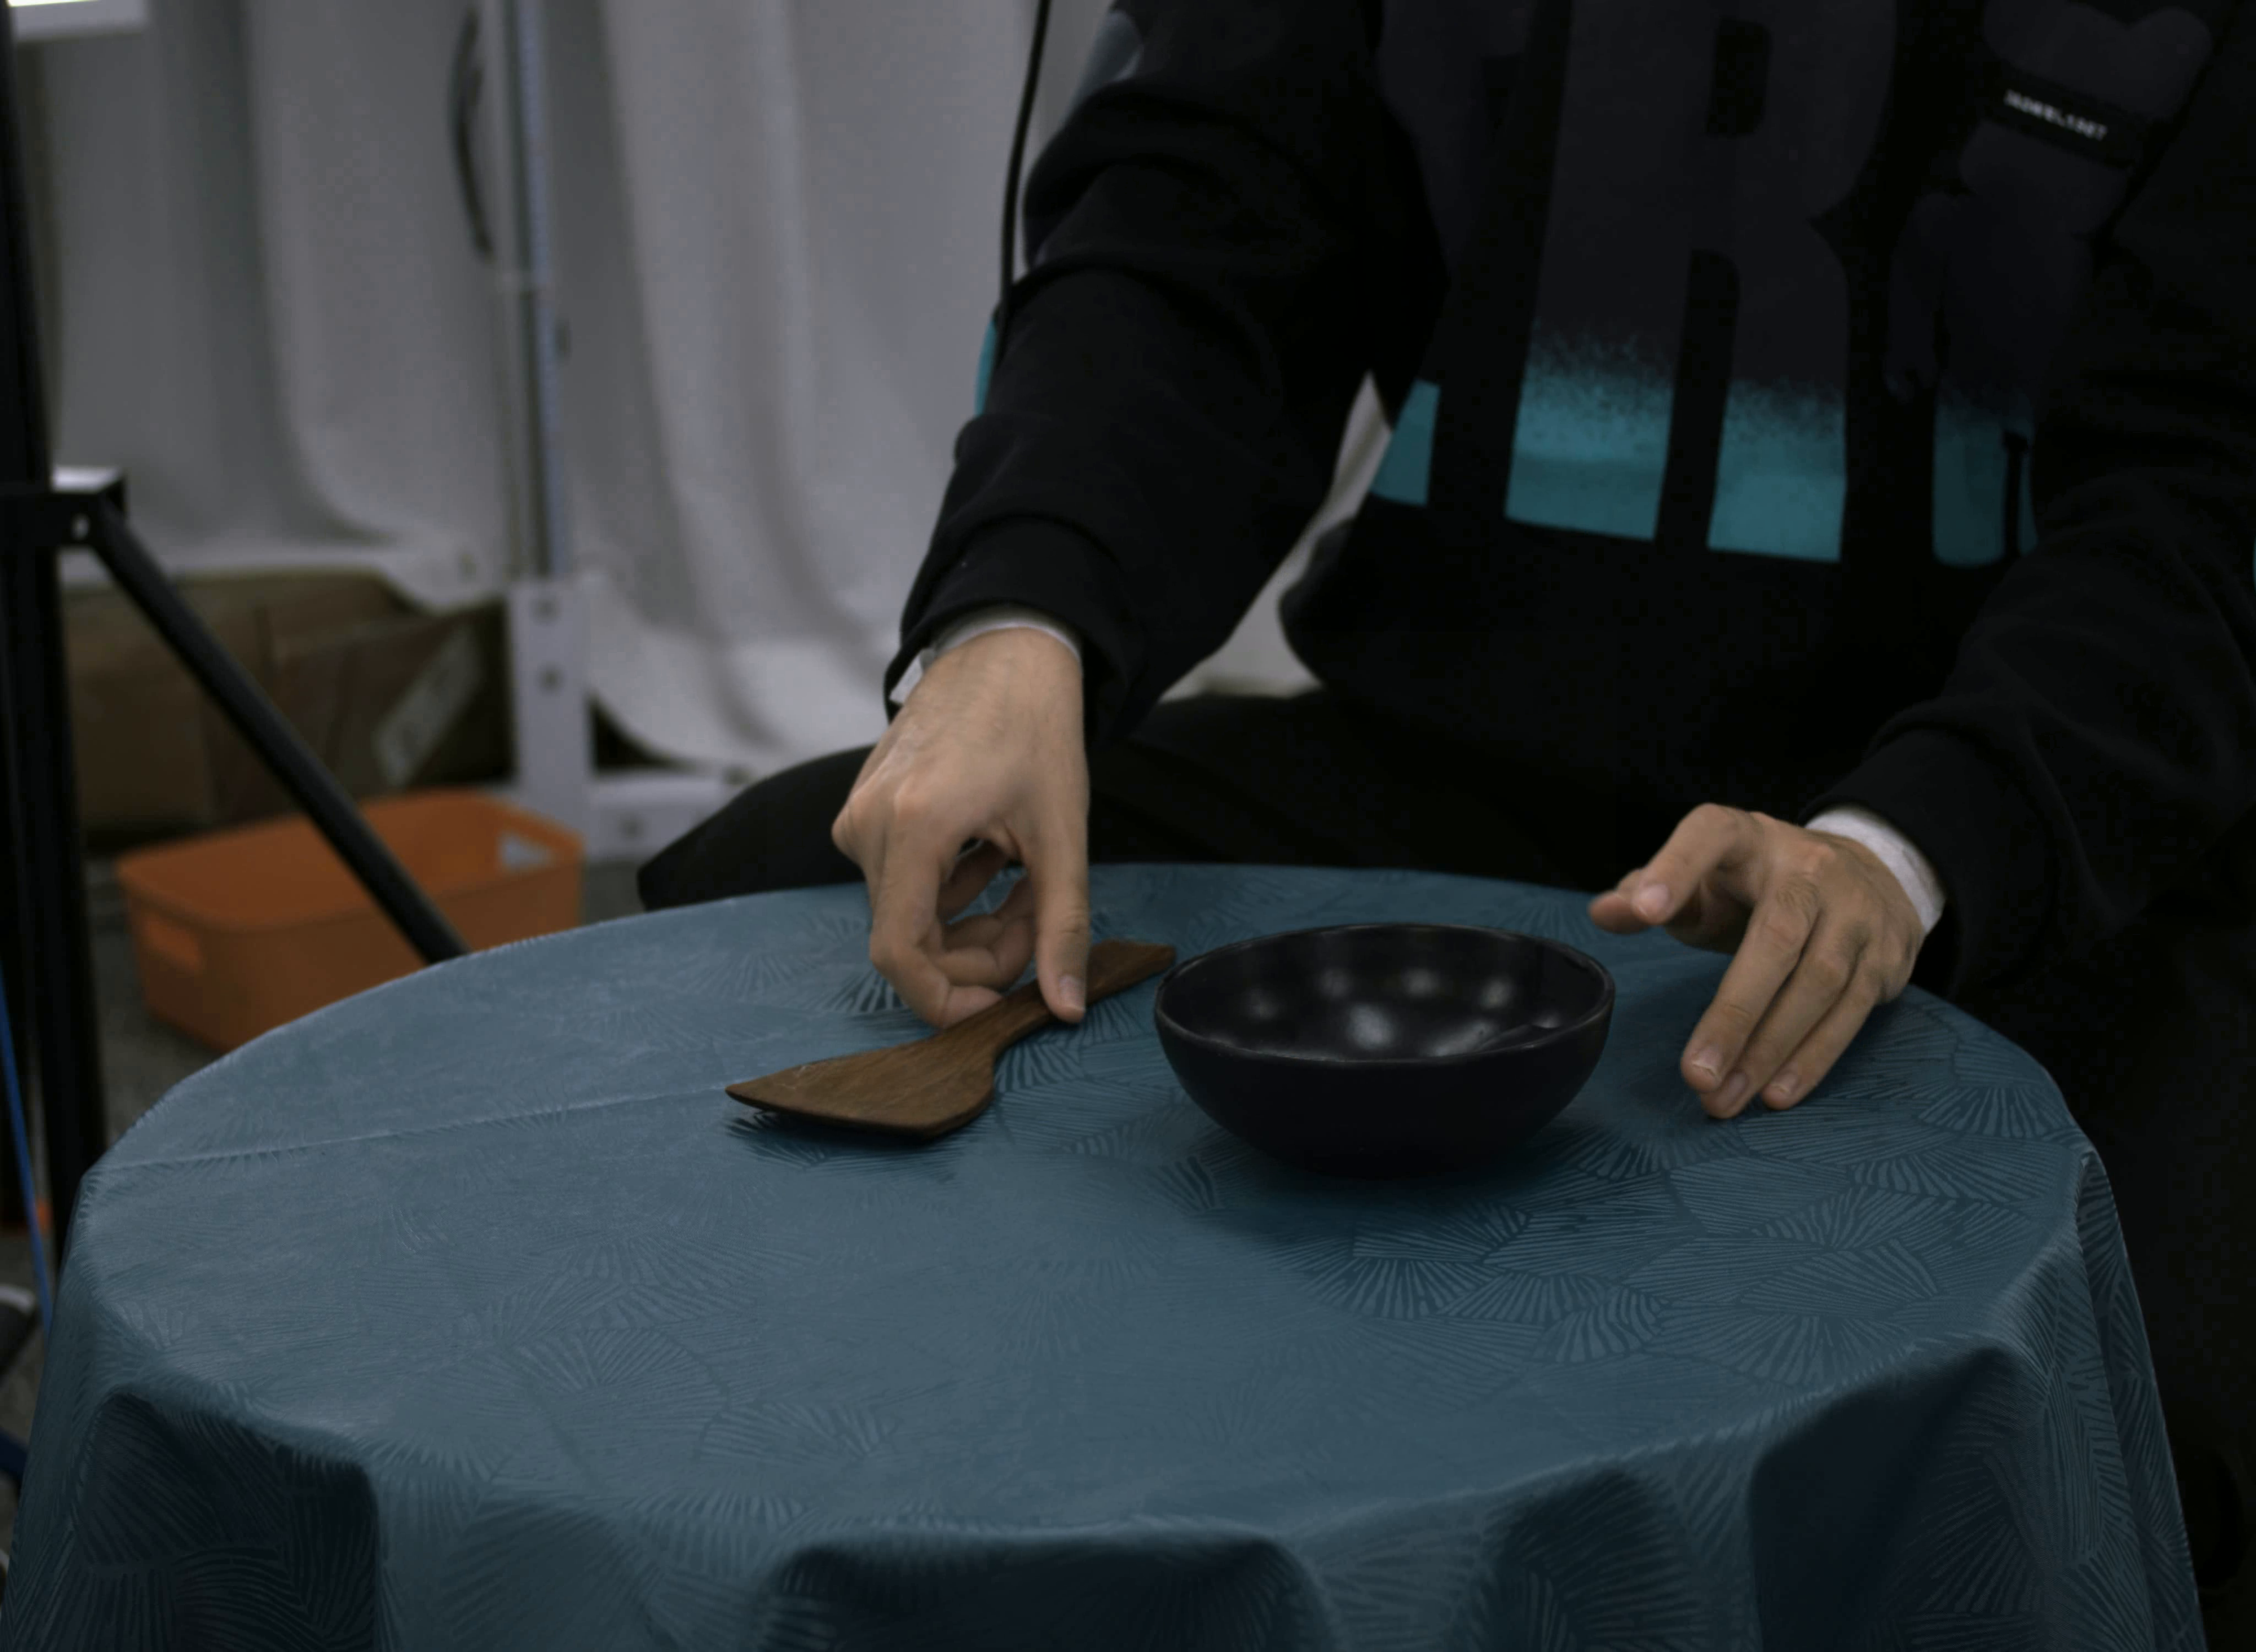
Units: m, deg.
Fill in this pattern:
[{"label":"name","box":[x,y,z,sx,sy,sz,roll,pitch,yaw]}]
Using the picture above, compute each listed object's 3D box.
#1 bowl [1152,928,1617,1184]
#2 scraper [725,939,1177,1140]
[{"label":"bowl","box":[0.078,0.073,1.582,0.139,0.050,0.140,-5,14,0]},{"label":"scraper","box":[-0.044,0.066,1.697,0.077,0.011,0.207,10,19,29]}]
